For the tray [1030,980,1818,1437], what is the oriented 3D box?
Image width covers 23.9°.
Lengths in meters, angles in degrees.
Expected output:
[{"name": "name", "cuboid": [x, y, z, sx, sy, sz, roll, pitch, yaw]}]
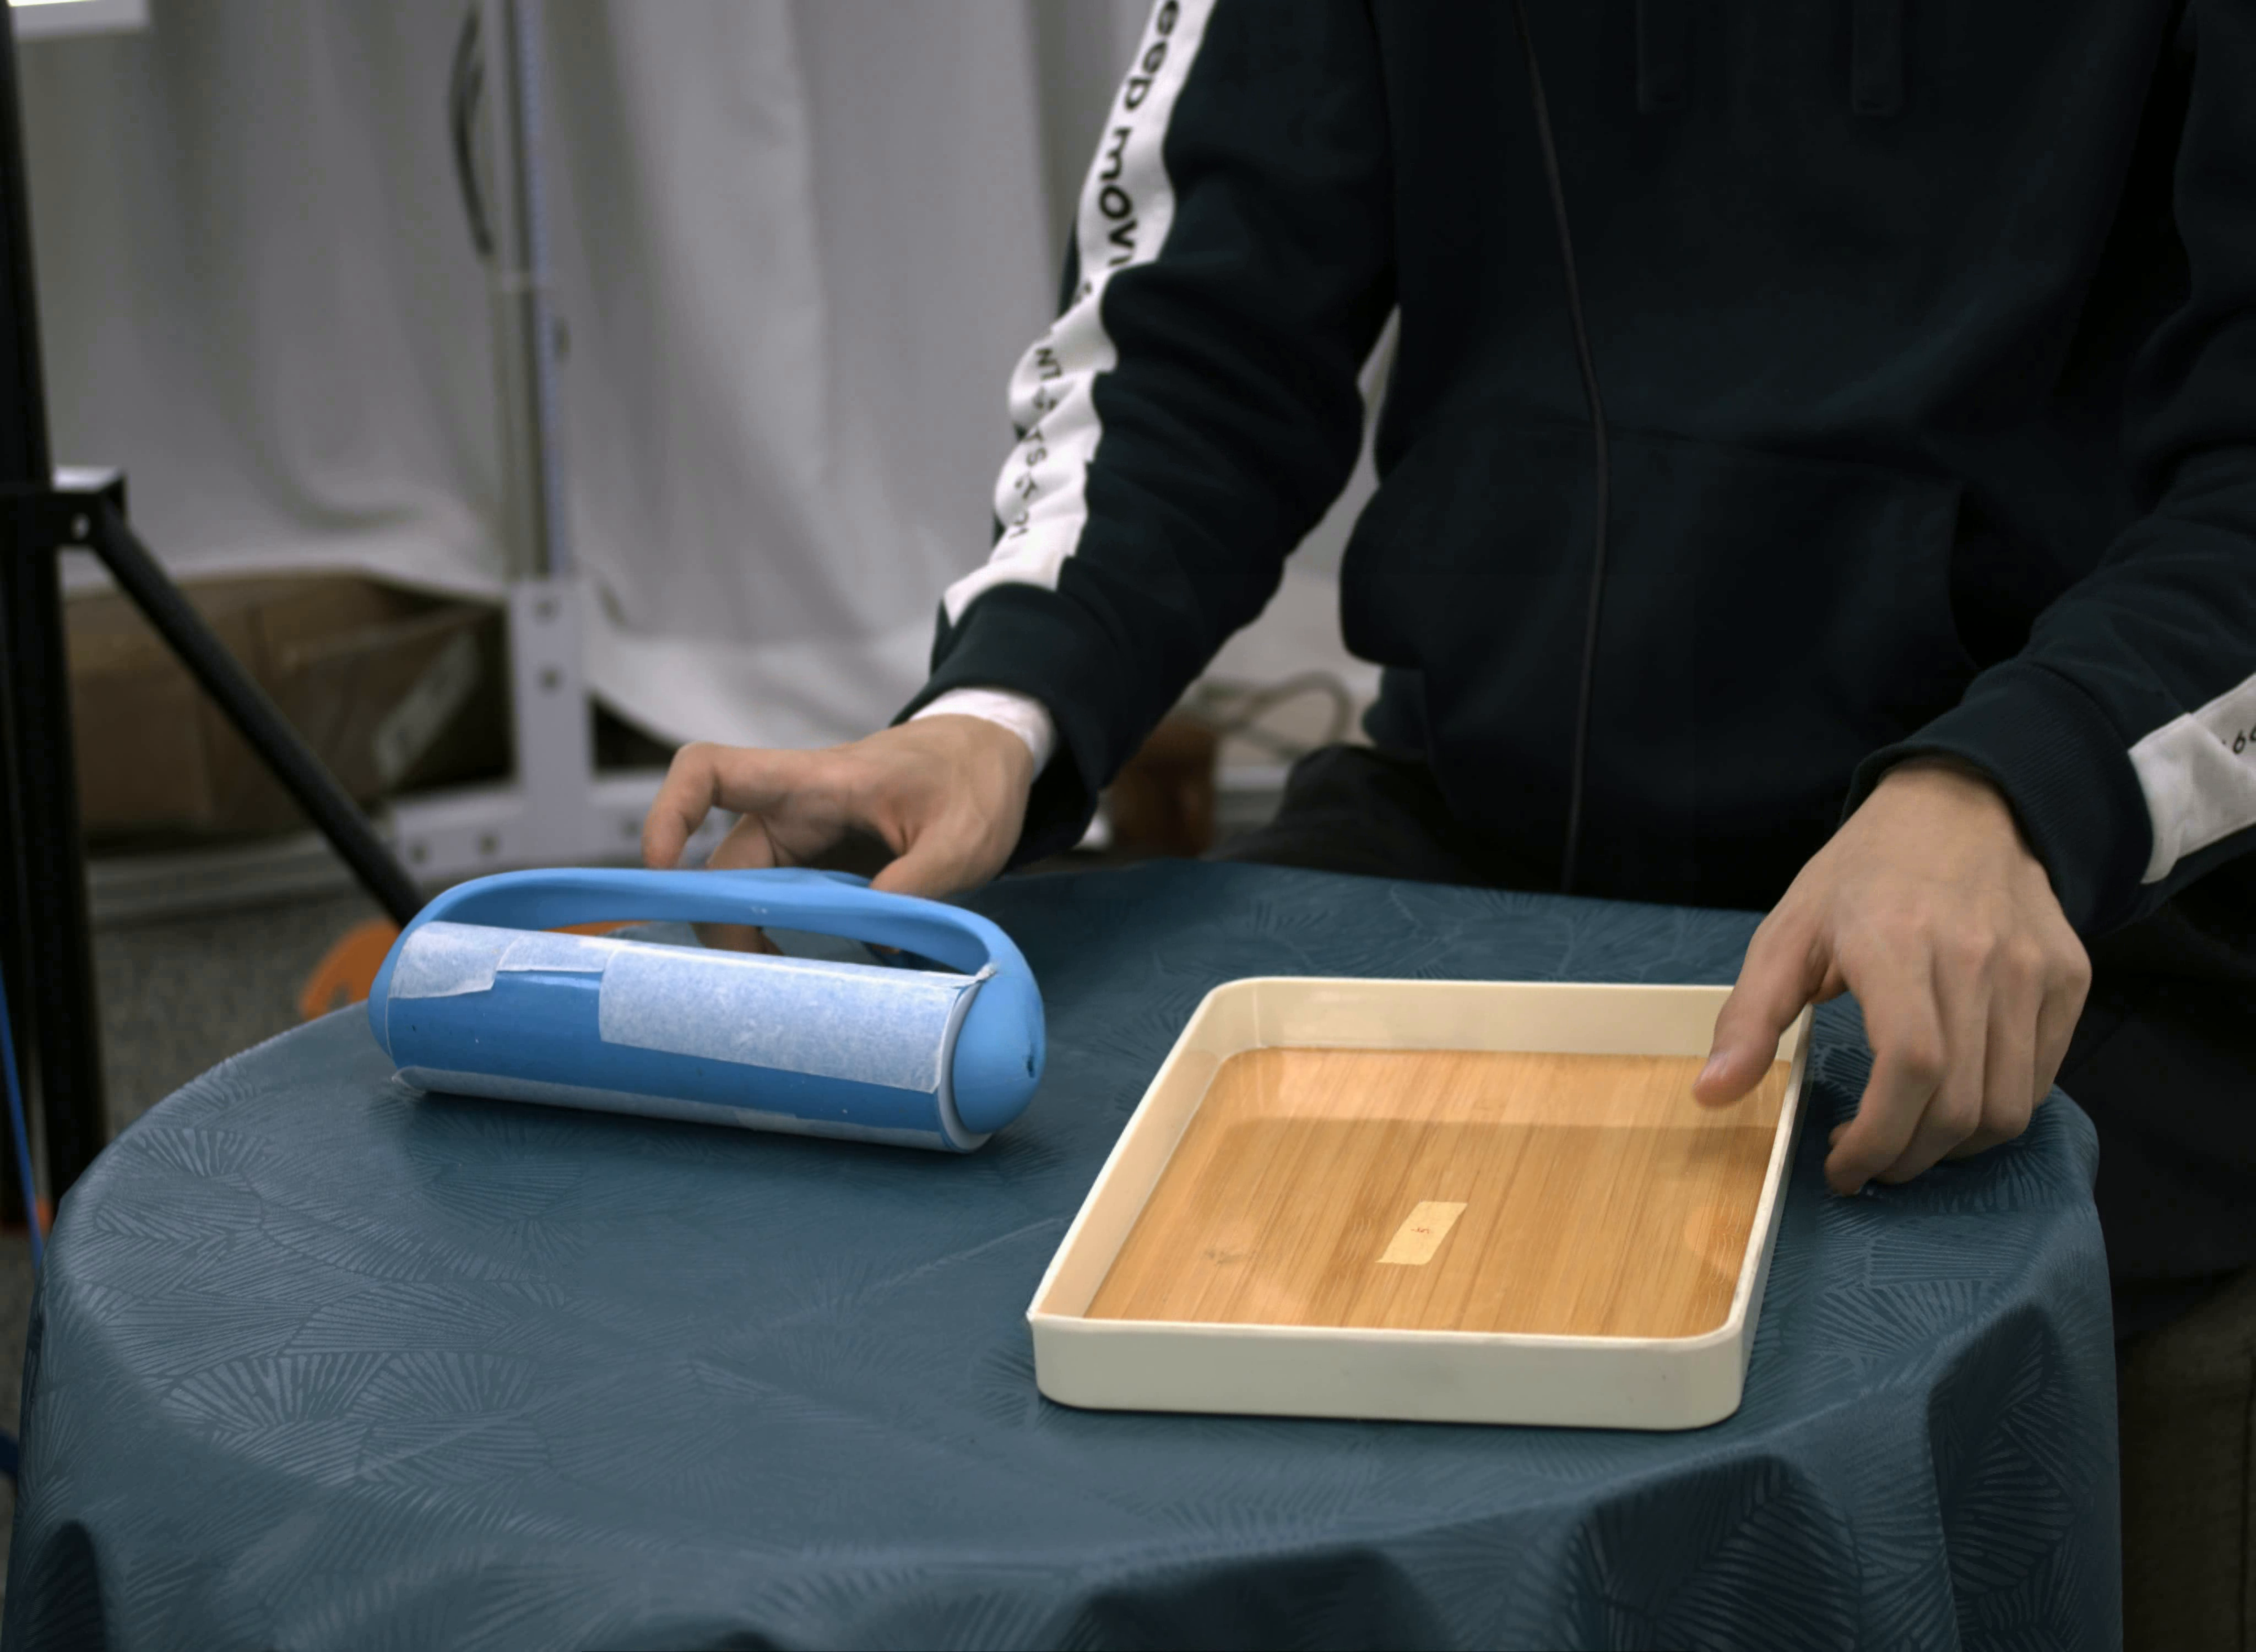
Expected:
[{"name": "tray", "cuboid": [0.093, 0.104, 1.510, 0.193, 0.027, 0.298, 1, 16, 12]}]

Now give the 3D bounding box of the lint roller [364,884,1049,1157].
[{"name": "lint roller", "cuboid": [-0.111, 0.049, 1.685, 0.232, 0.068, 0.178, 1, 18, 22]}]
